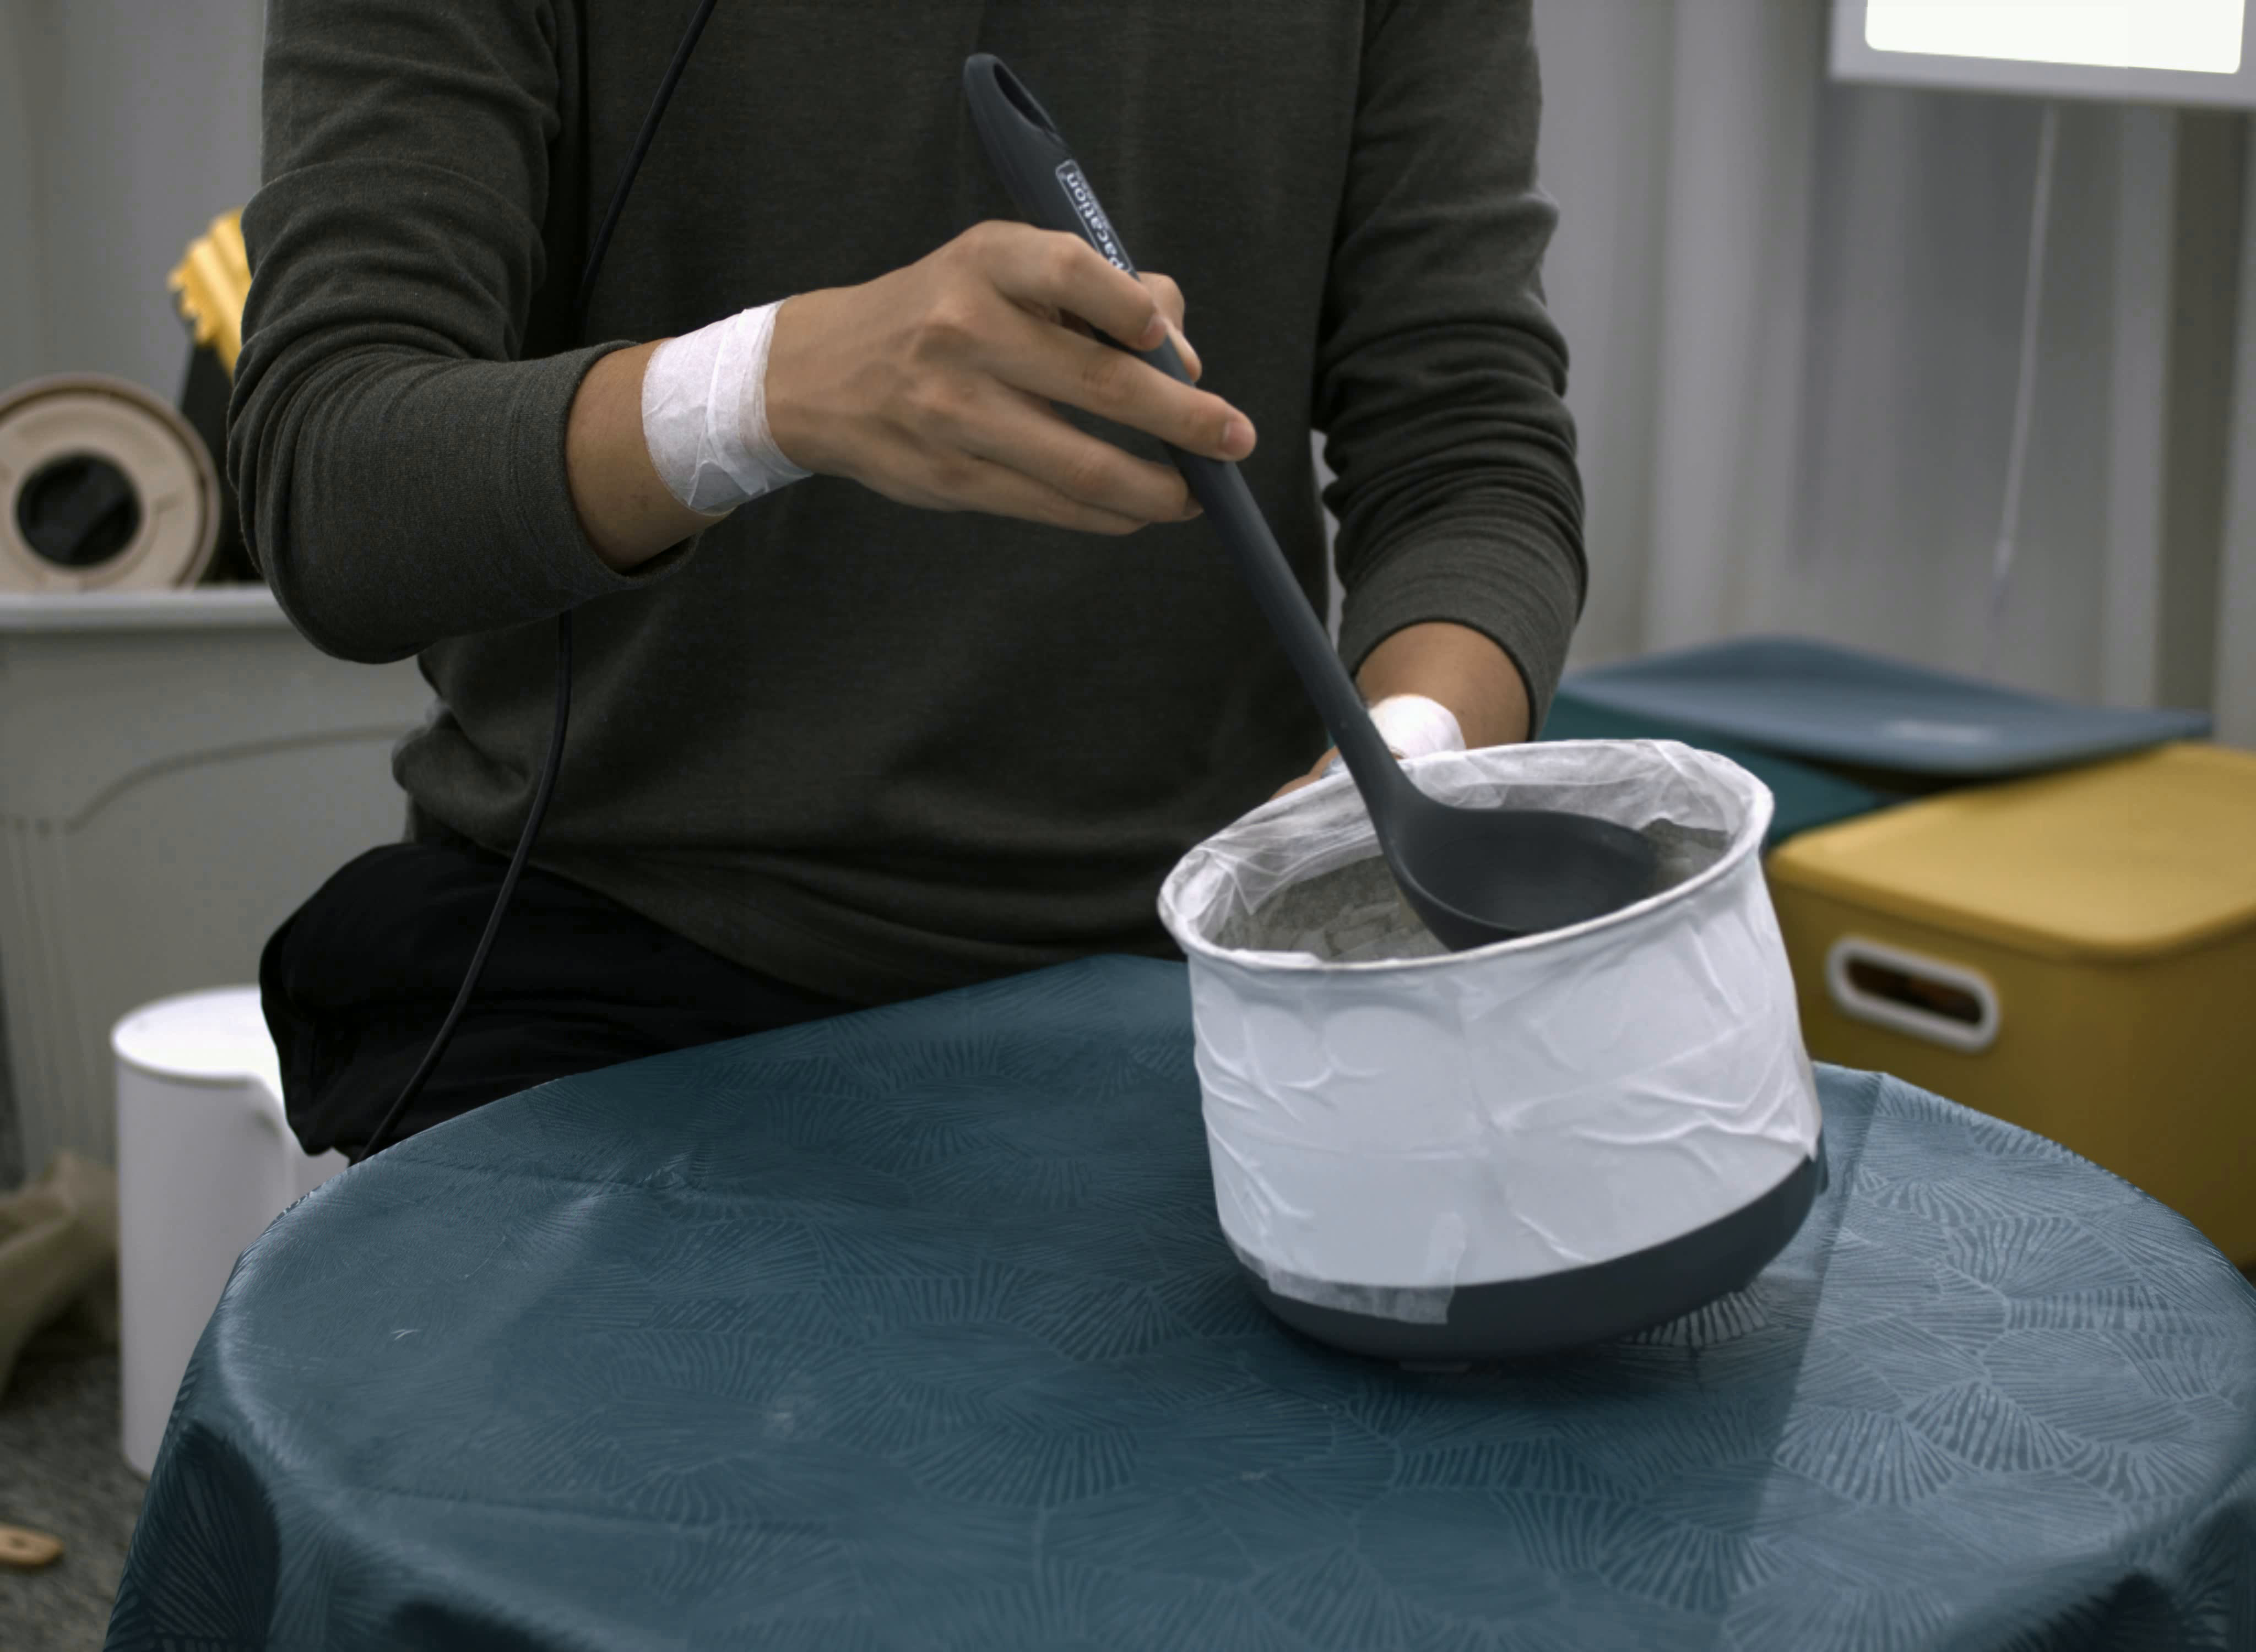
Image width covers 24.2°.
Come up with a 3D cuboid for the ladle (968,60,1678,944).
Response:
[{"bbox_3d":[0.053,-0.092,1.506,0.063,0.315,0.086,-27,6,30],"label":"ladle"}]

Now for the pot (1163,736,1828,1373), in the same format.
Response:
[{"bbox_3d":[0.099,0.057,1.533,0.179,0.138,0.231,-14,19,-14],"label":"pot"}]
